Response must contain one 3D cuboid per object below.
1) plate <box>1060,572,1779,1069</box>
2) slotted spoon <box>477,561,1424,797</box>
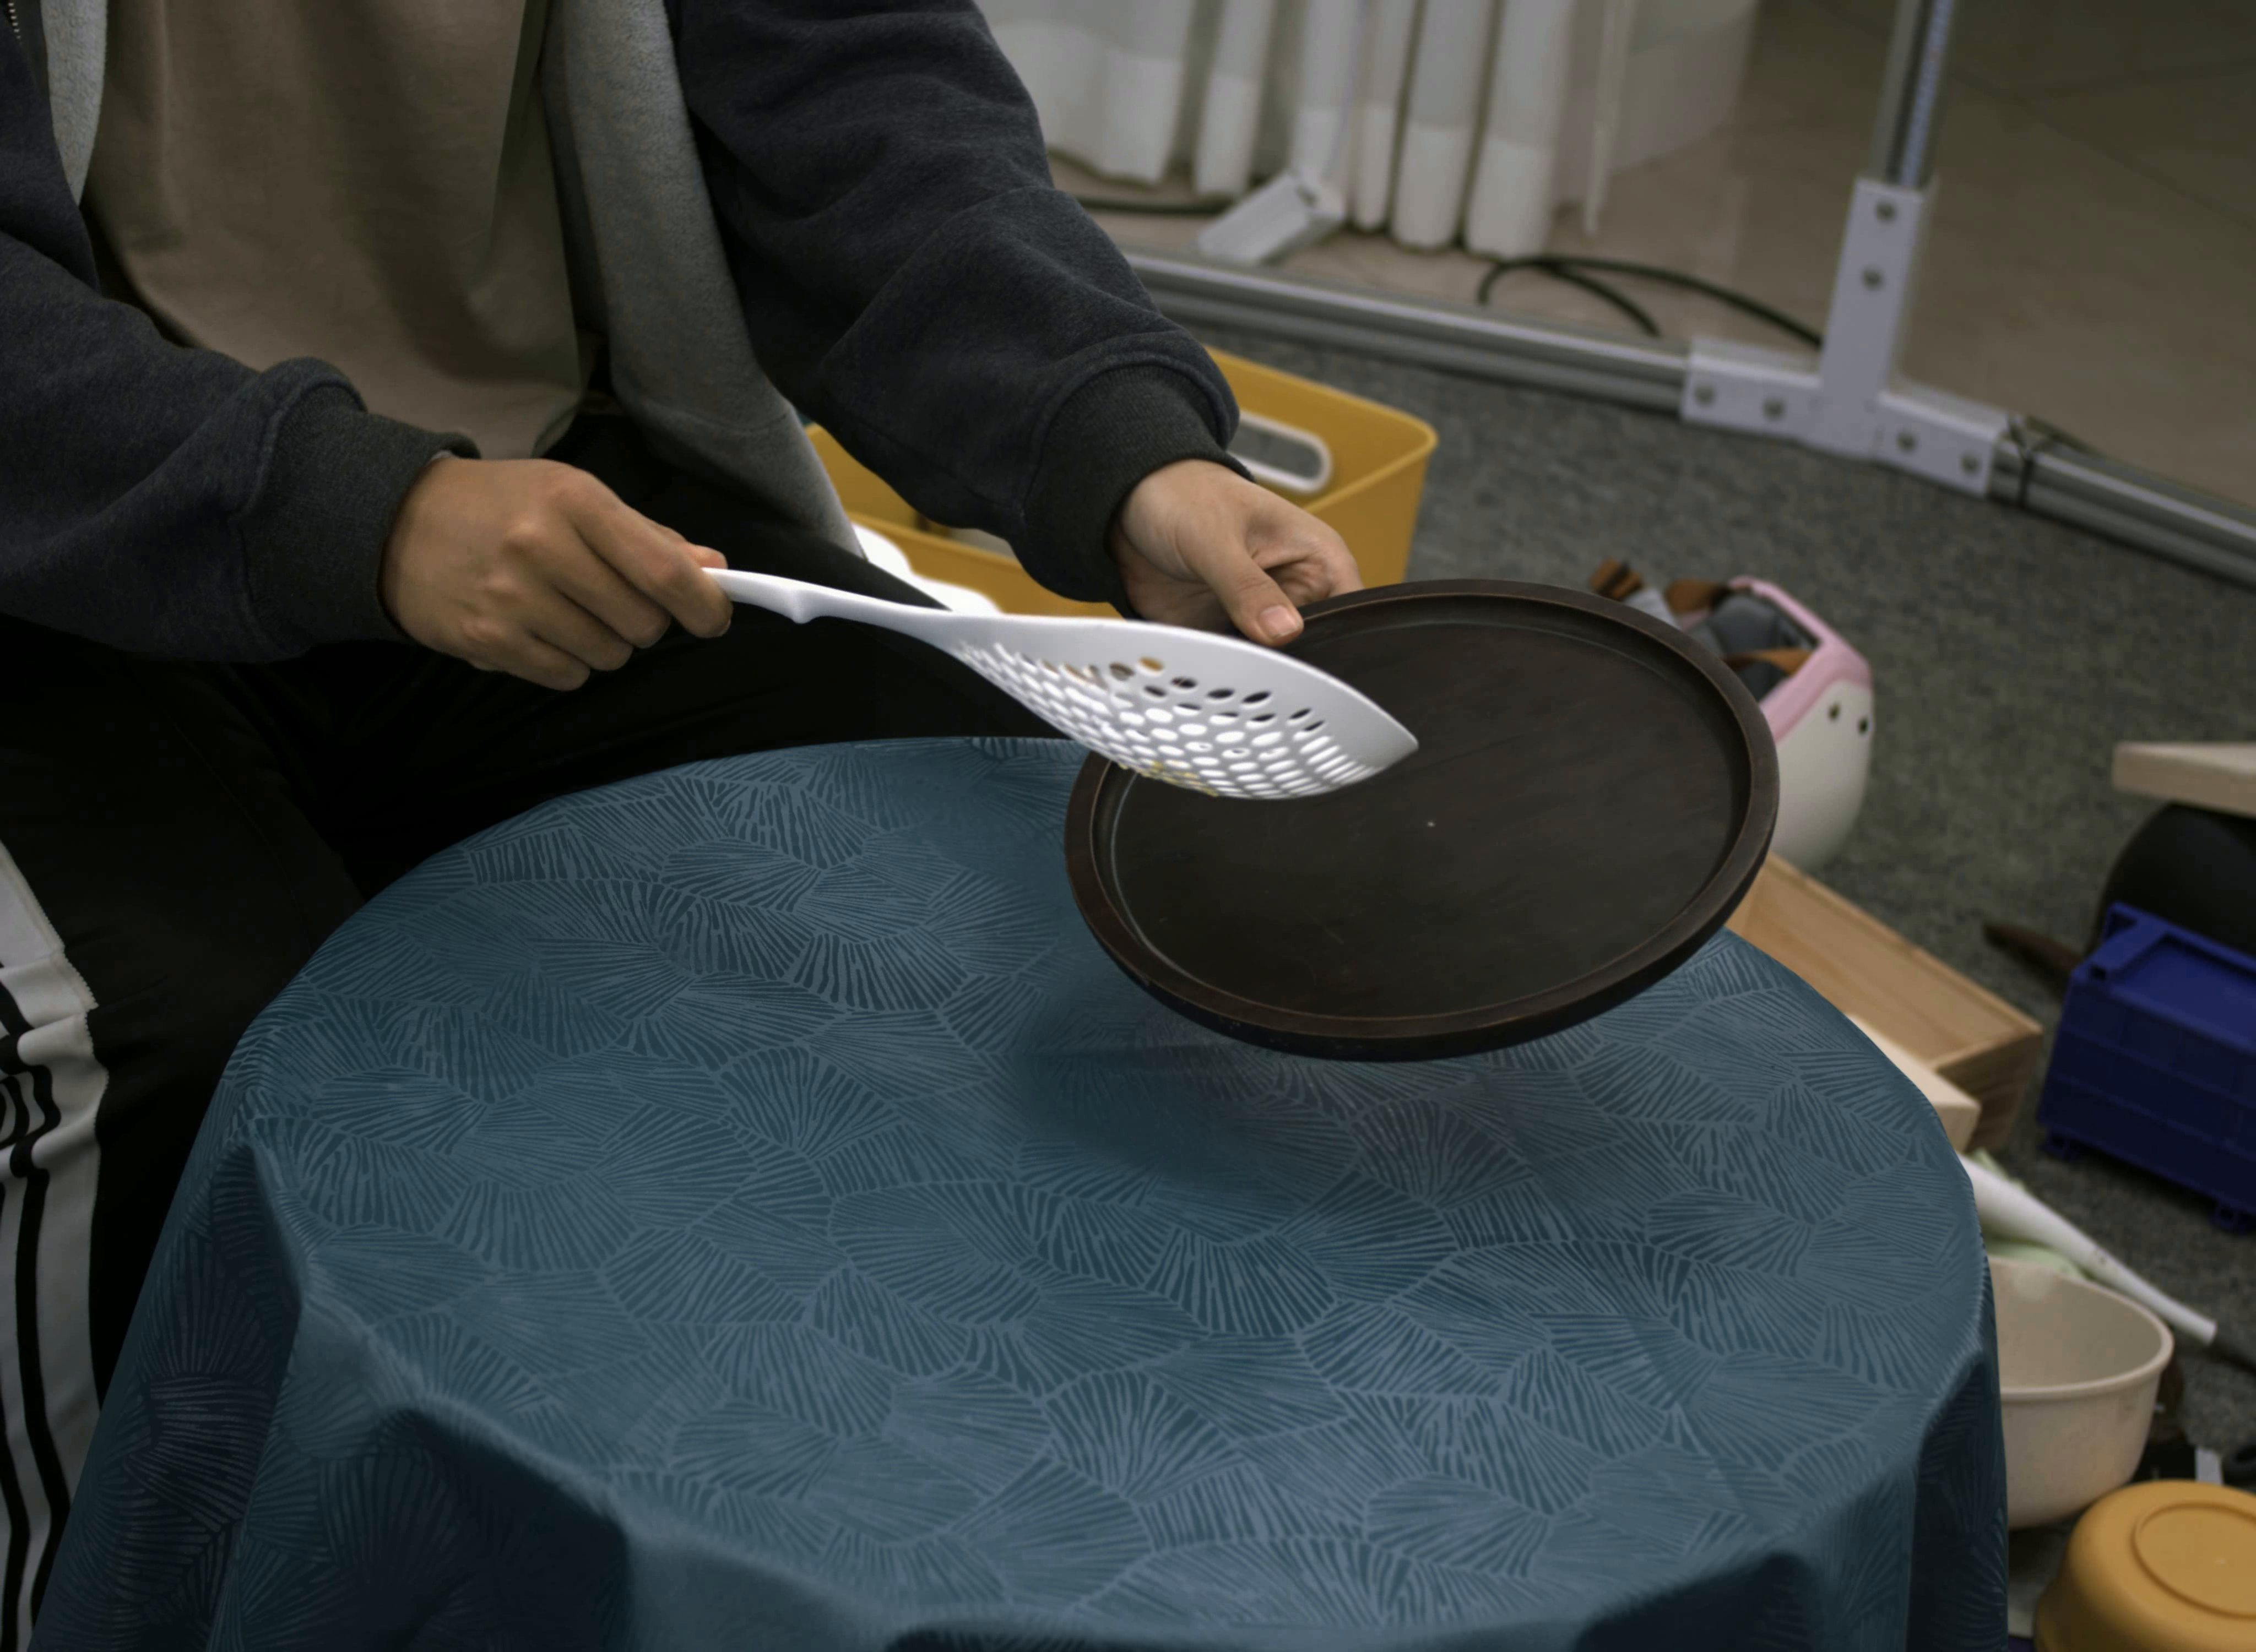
[{"bbox_3d":[0.102,-0.002,1.866,0.254,0.029,0.257,-7,40,6],"label":"plate"},{"bbox_3d":[-0.067,-0.061,1.826,0.349,0.050,0.136,16,-10,25],"label":"slotted spoon"}]
